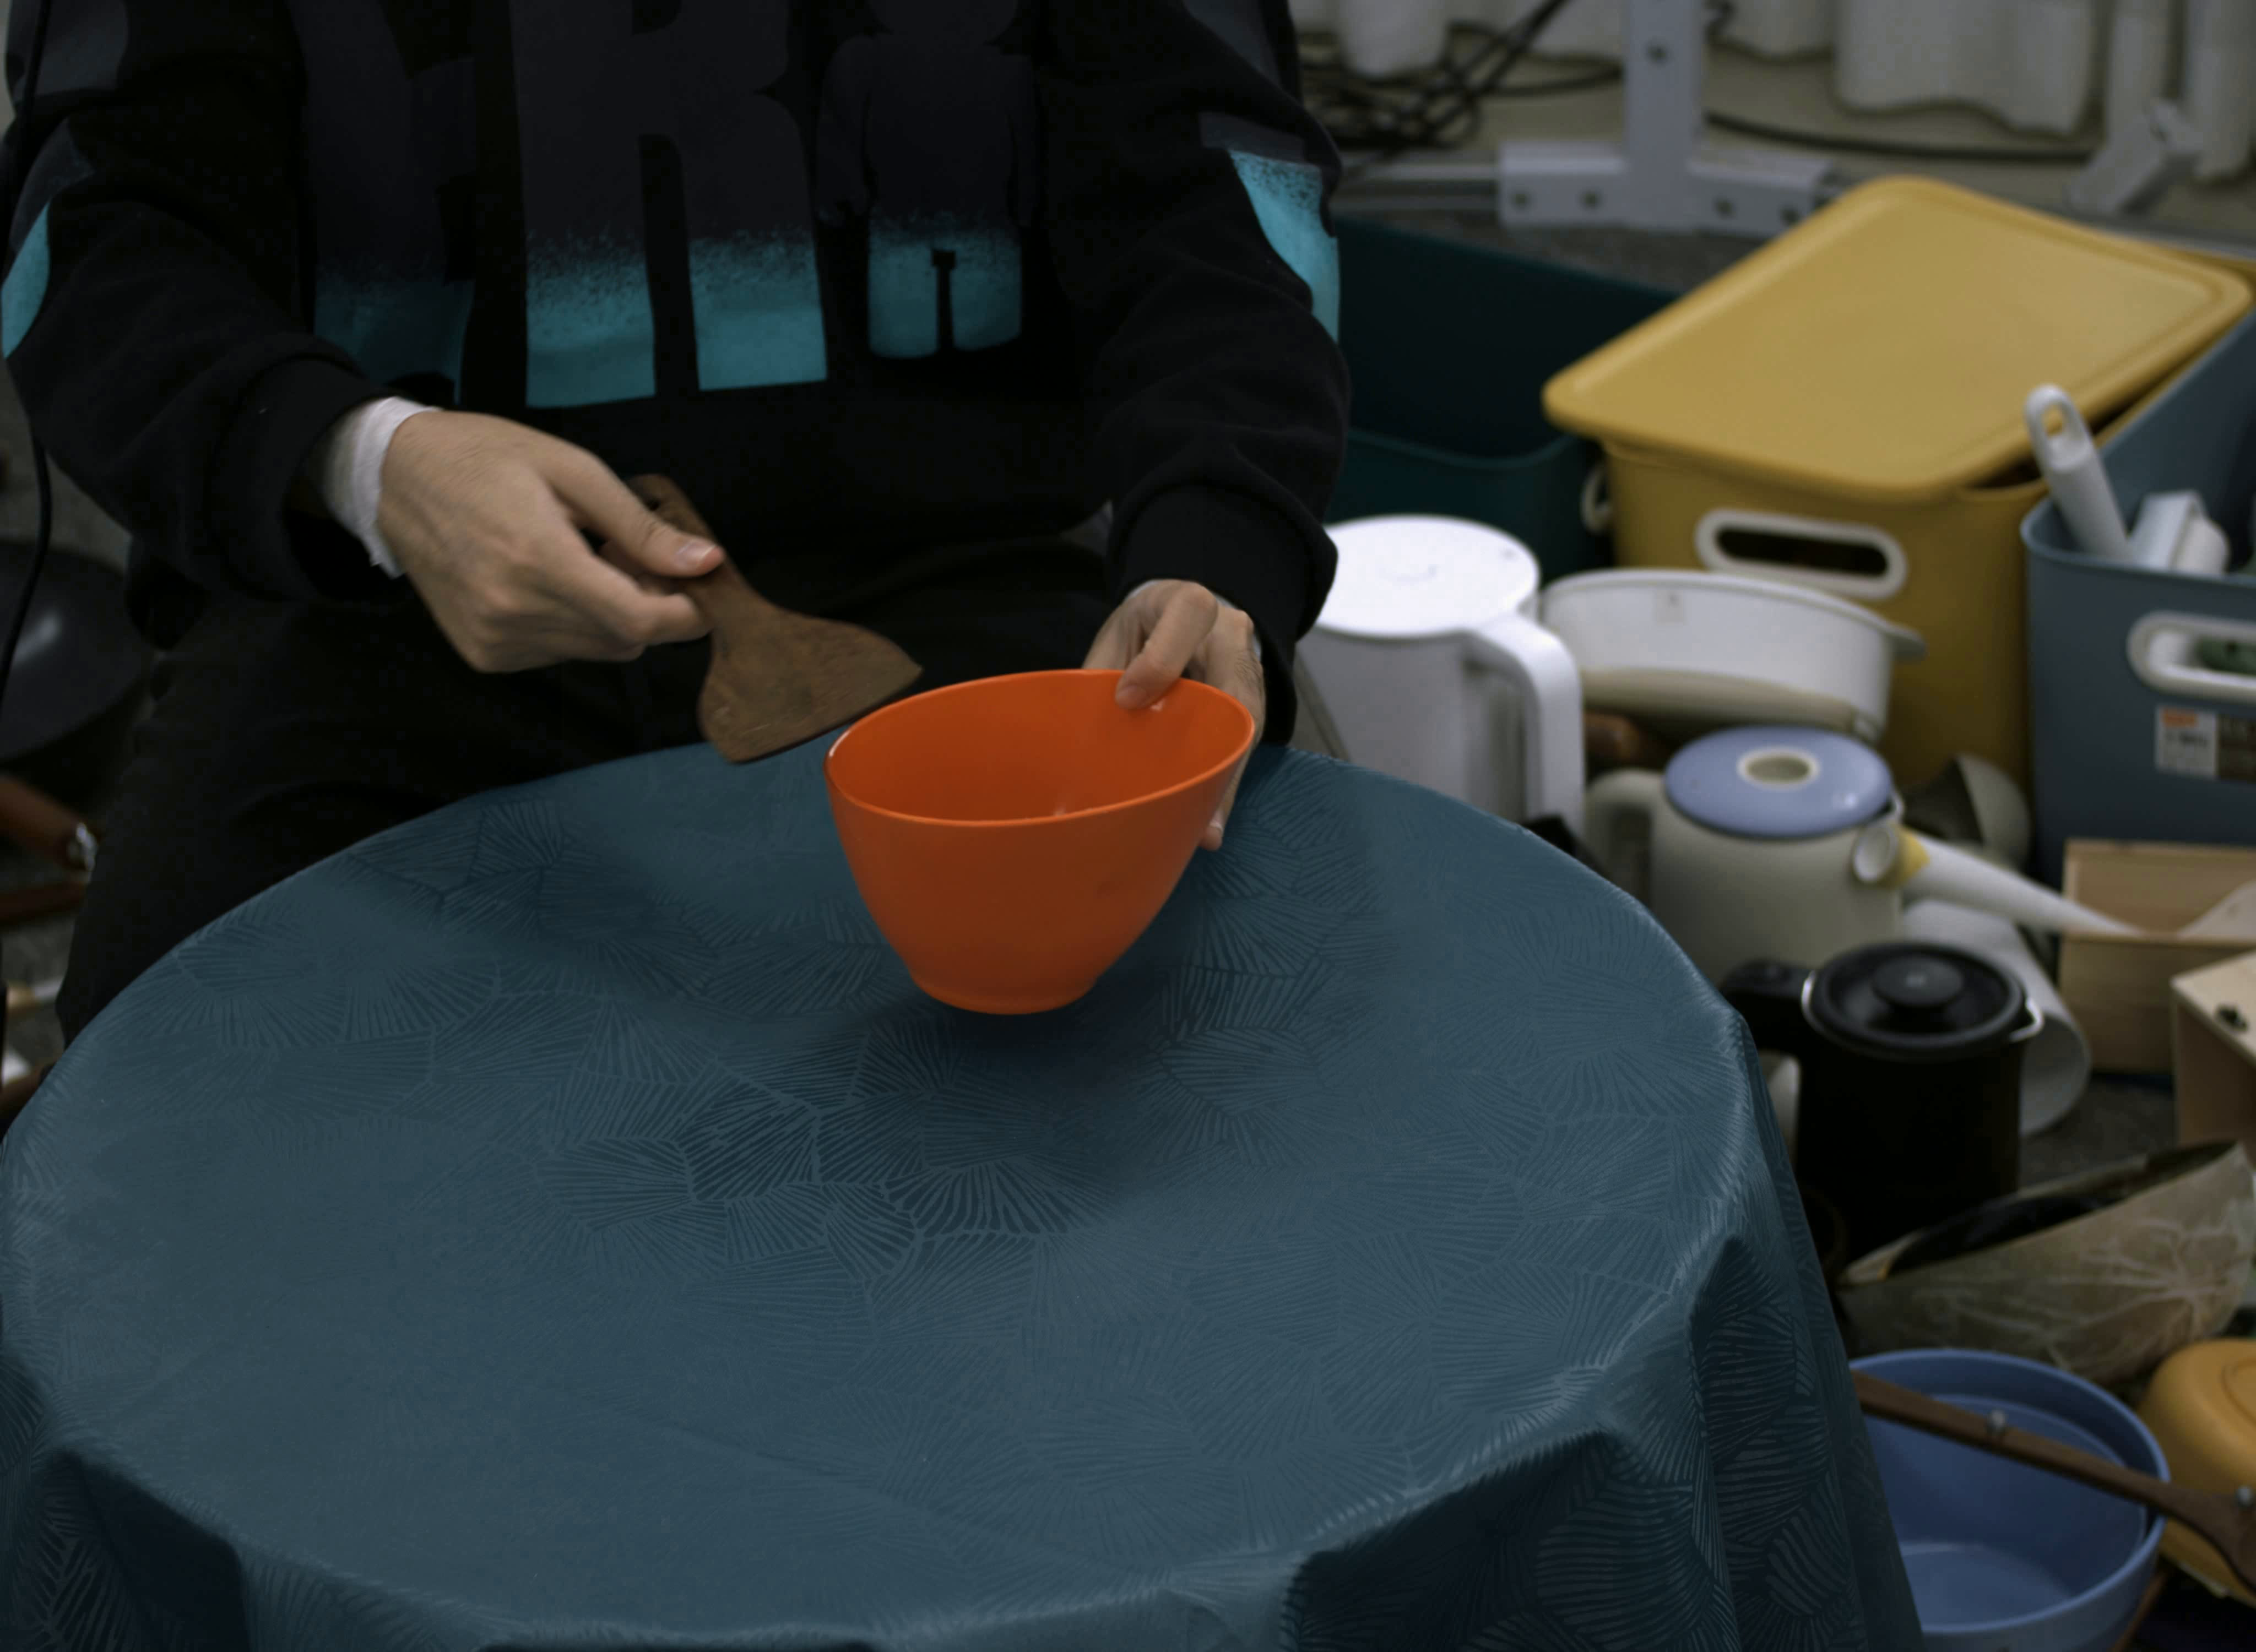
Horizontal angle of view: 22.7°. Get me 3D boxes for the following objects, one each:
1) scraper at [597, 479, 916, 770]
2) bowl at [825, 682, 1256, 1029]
[{"bbox_3d":[-0.141,-0.075,1.963,0.076,0.011,0.213,-24,34,-13],"label":"scraper"},{"bbox_3d":[-0.031,0.013,1.935,0.147,0.103,0.150,1,24,0],"label":"bowl"}]
